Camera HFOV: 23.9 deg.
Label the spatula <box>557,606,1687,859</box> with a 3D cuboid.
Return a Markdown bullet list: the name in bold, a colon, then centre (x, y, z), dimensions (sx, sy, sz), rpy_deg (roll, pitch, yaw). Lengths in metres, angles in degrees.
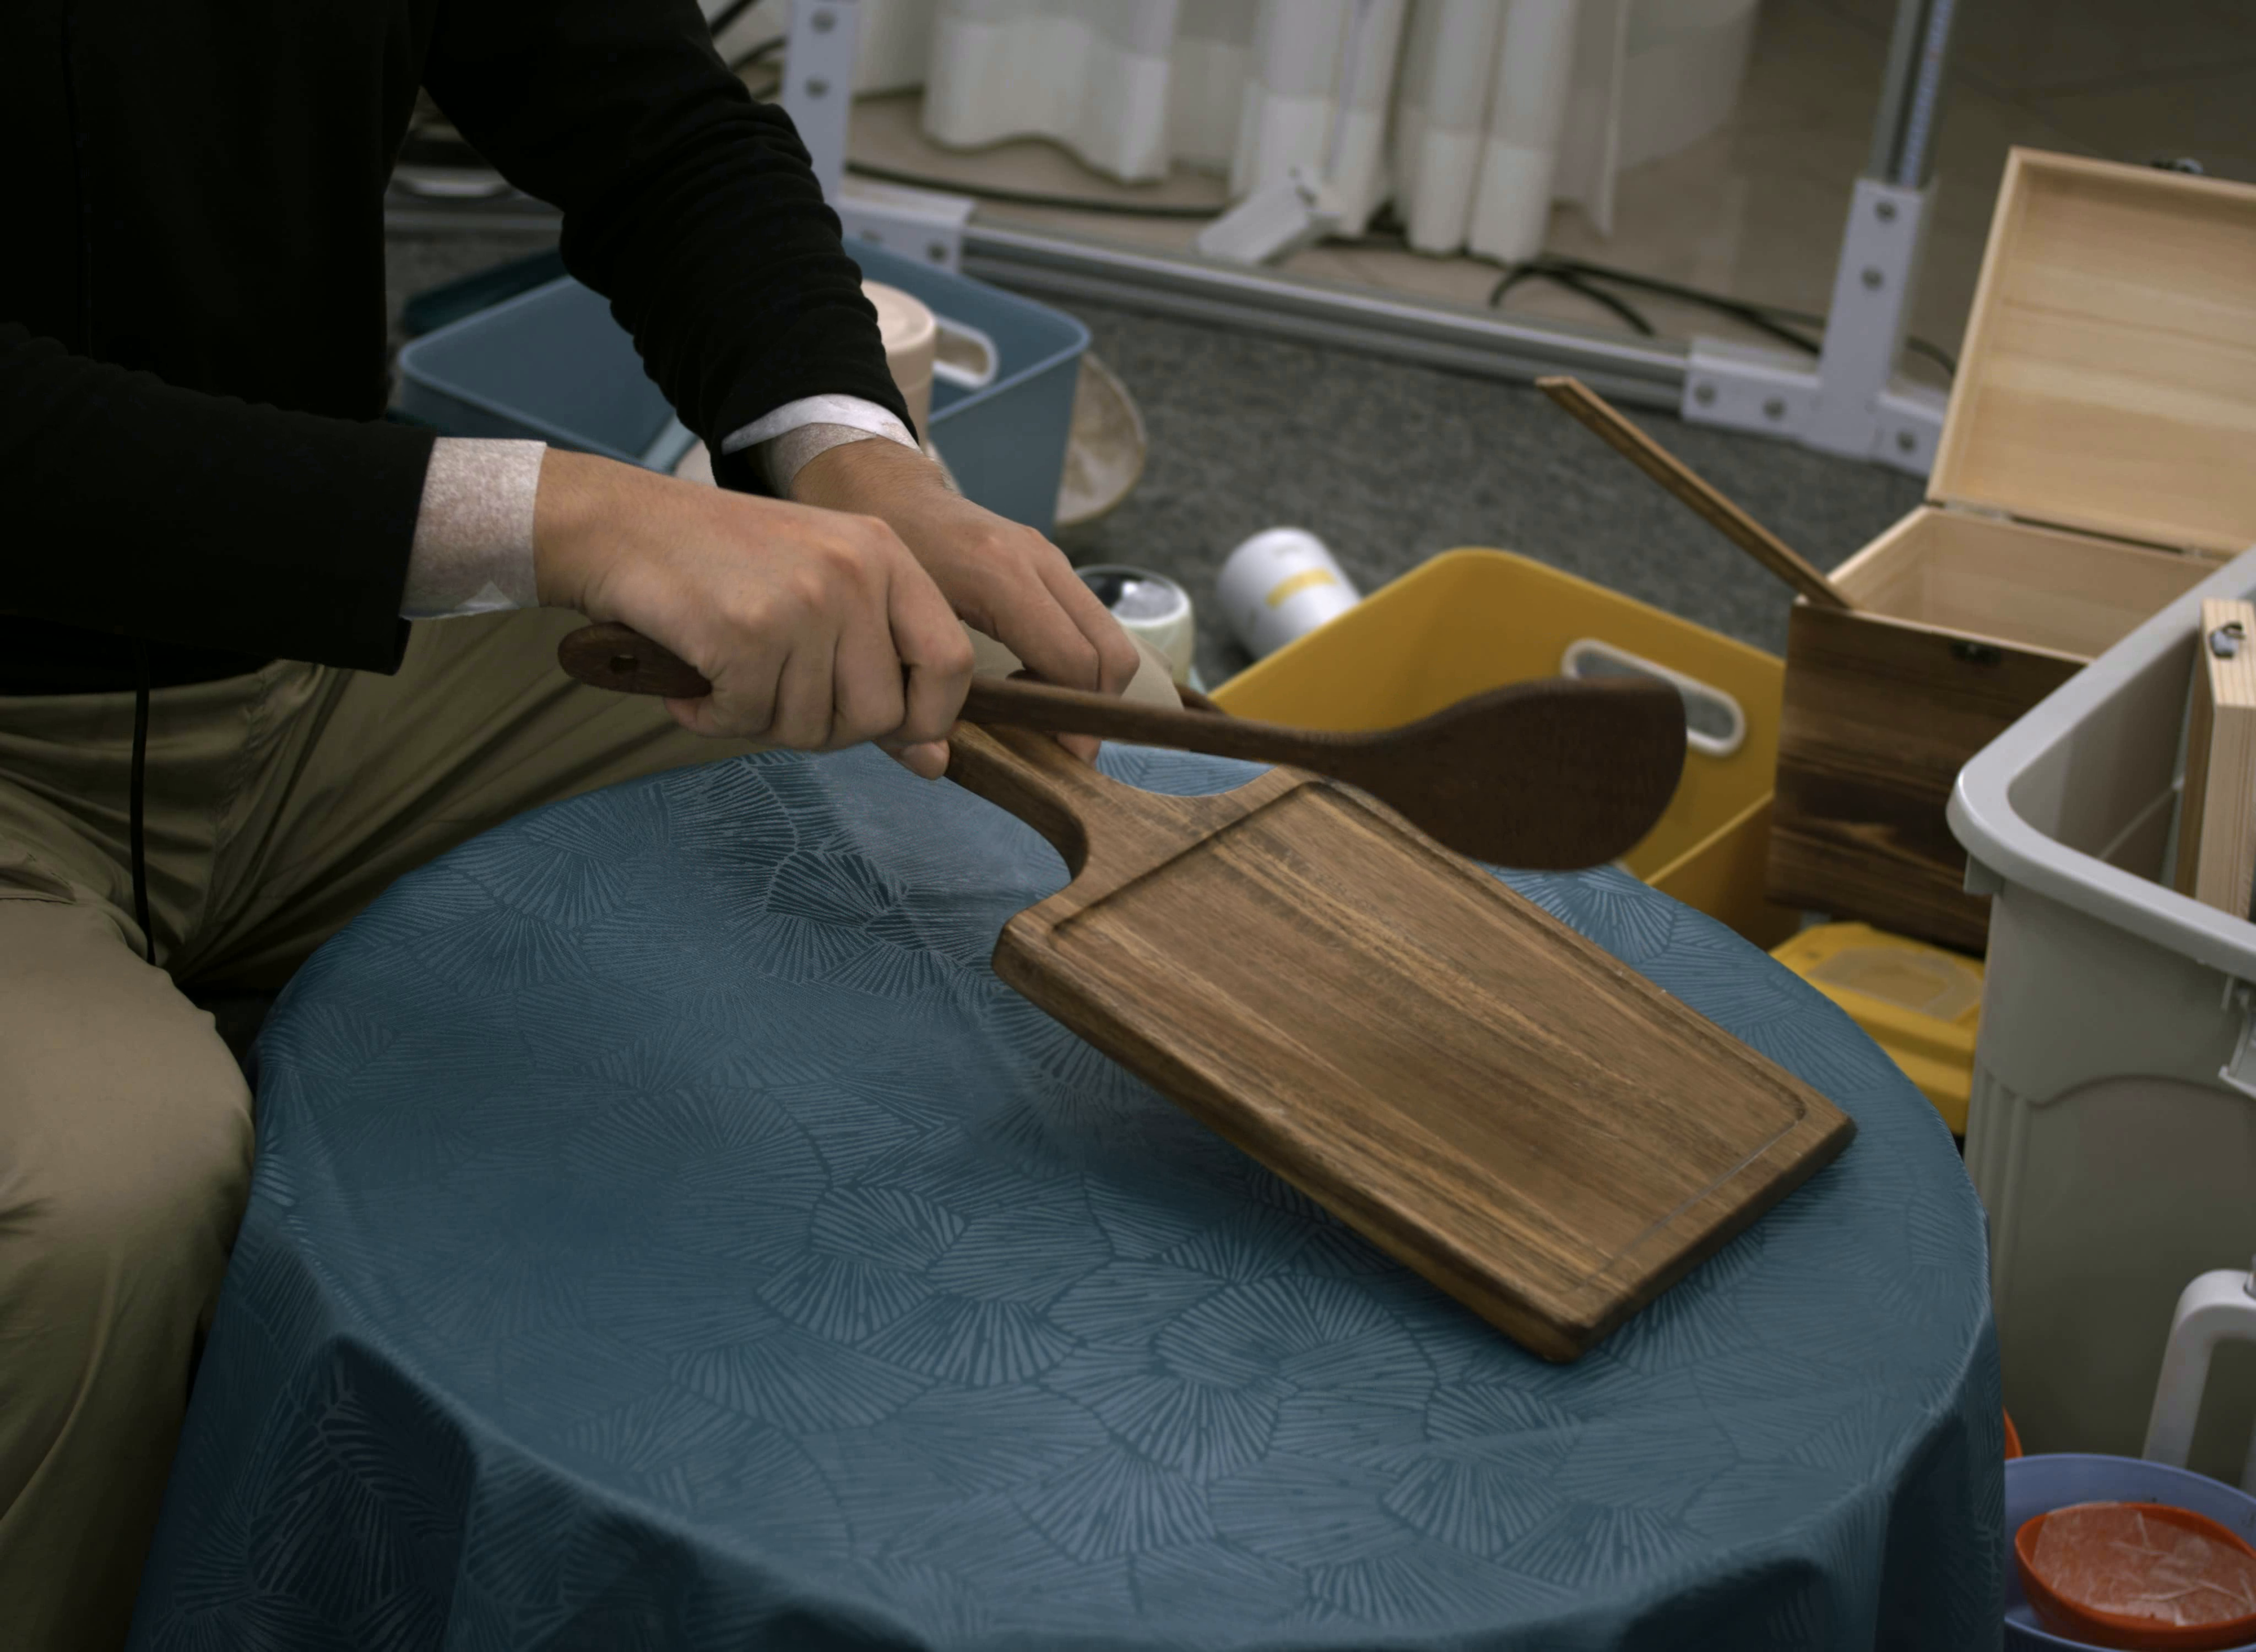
- **spatula**: centre (-0.001, -0.041, 1.799), dimensions (0.384, 0.096, 0.016), rpy_deg (7, 45, -7)

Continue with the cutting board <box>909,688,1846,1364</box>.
- **cutting board**: centre (0.064, 0.048, 1.860), dimensions (0.354, 0.023, 0.200), rpy_deg (34, 36, 22)
